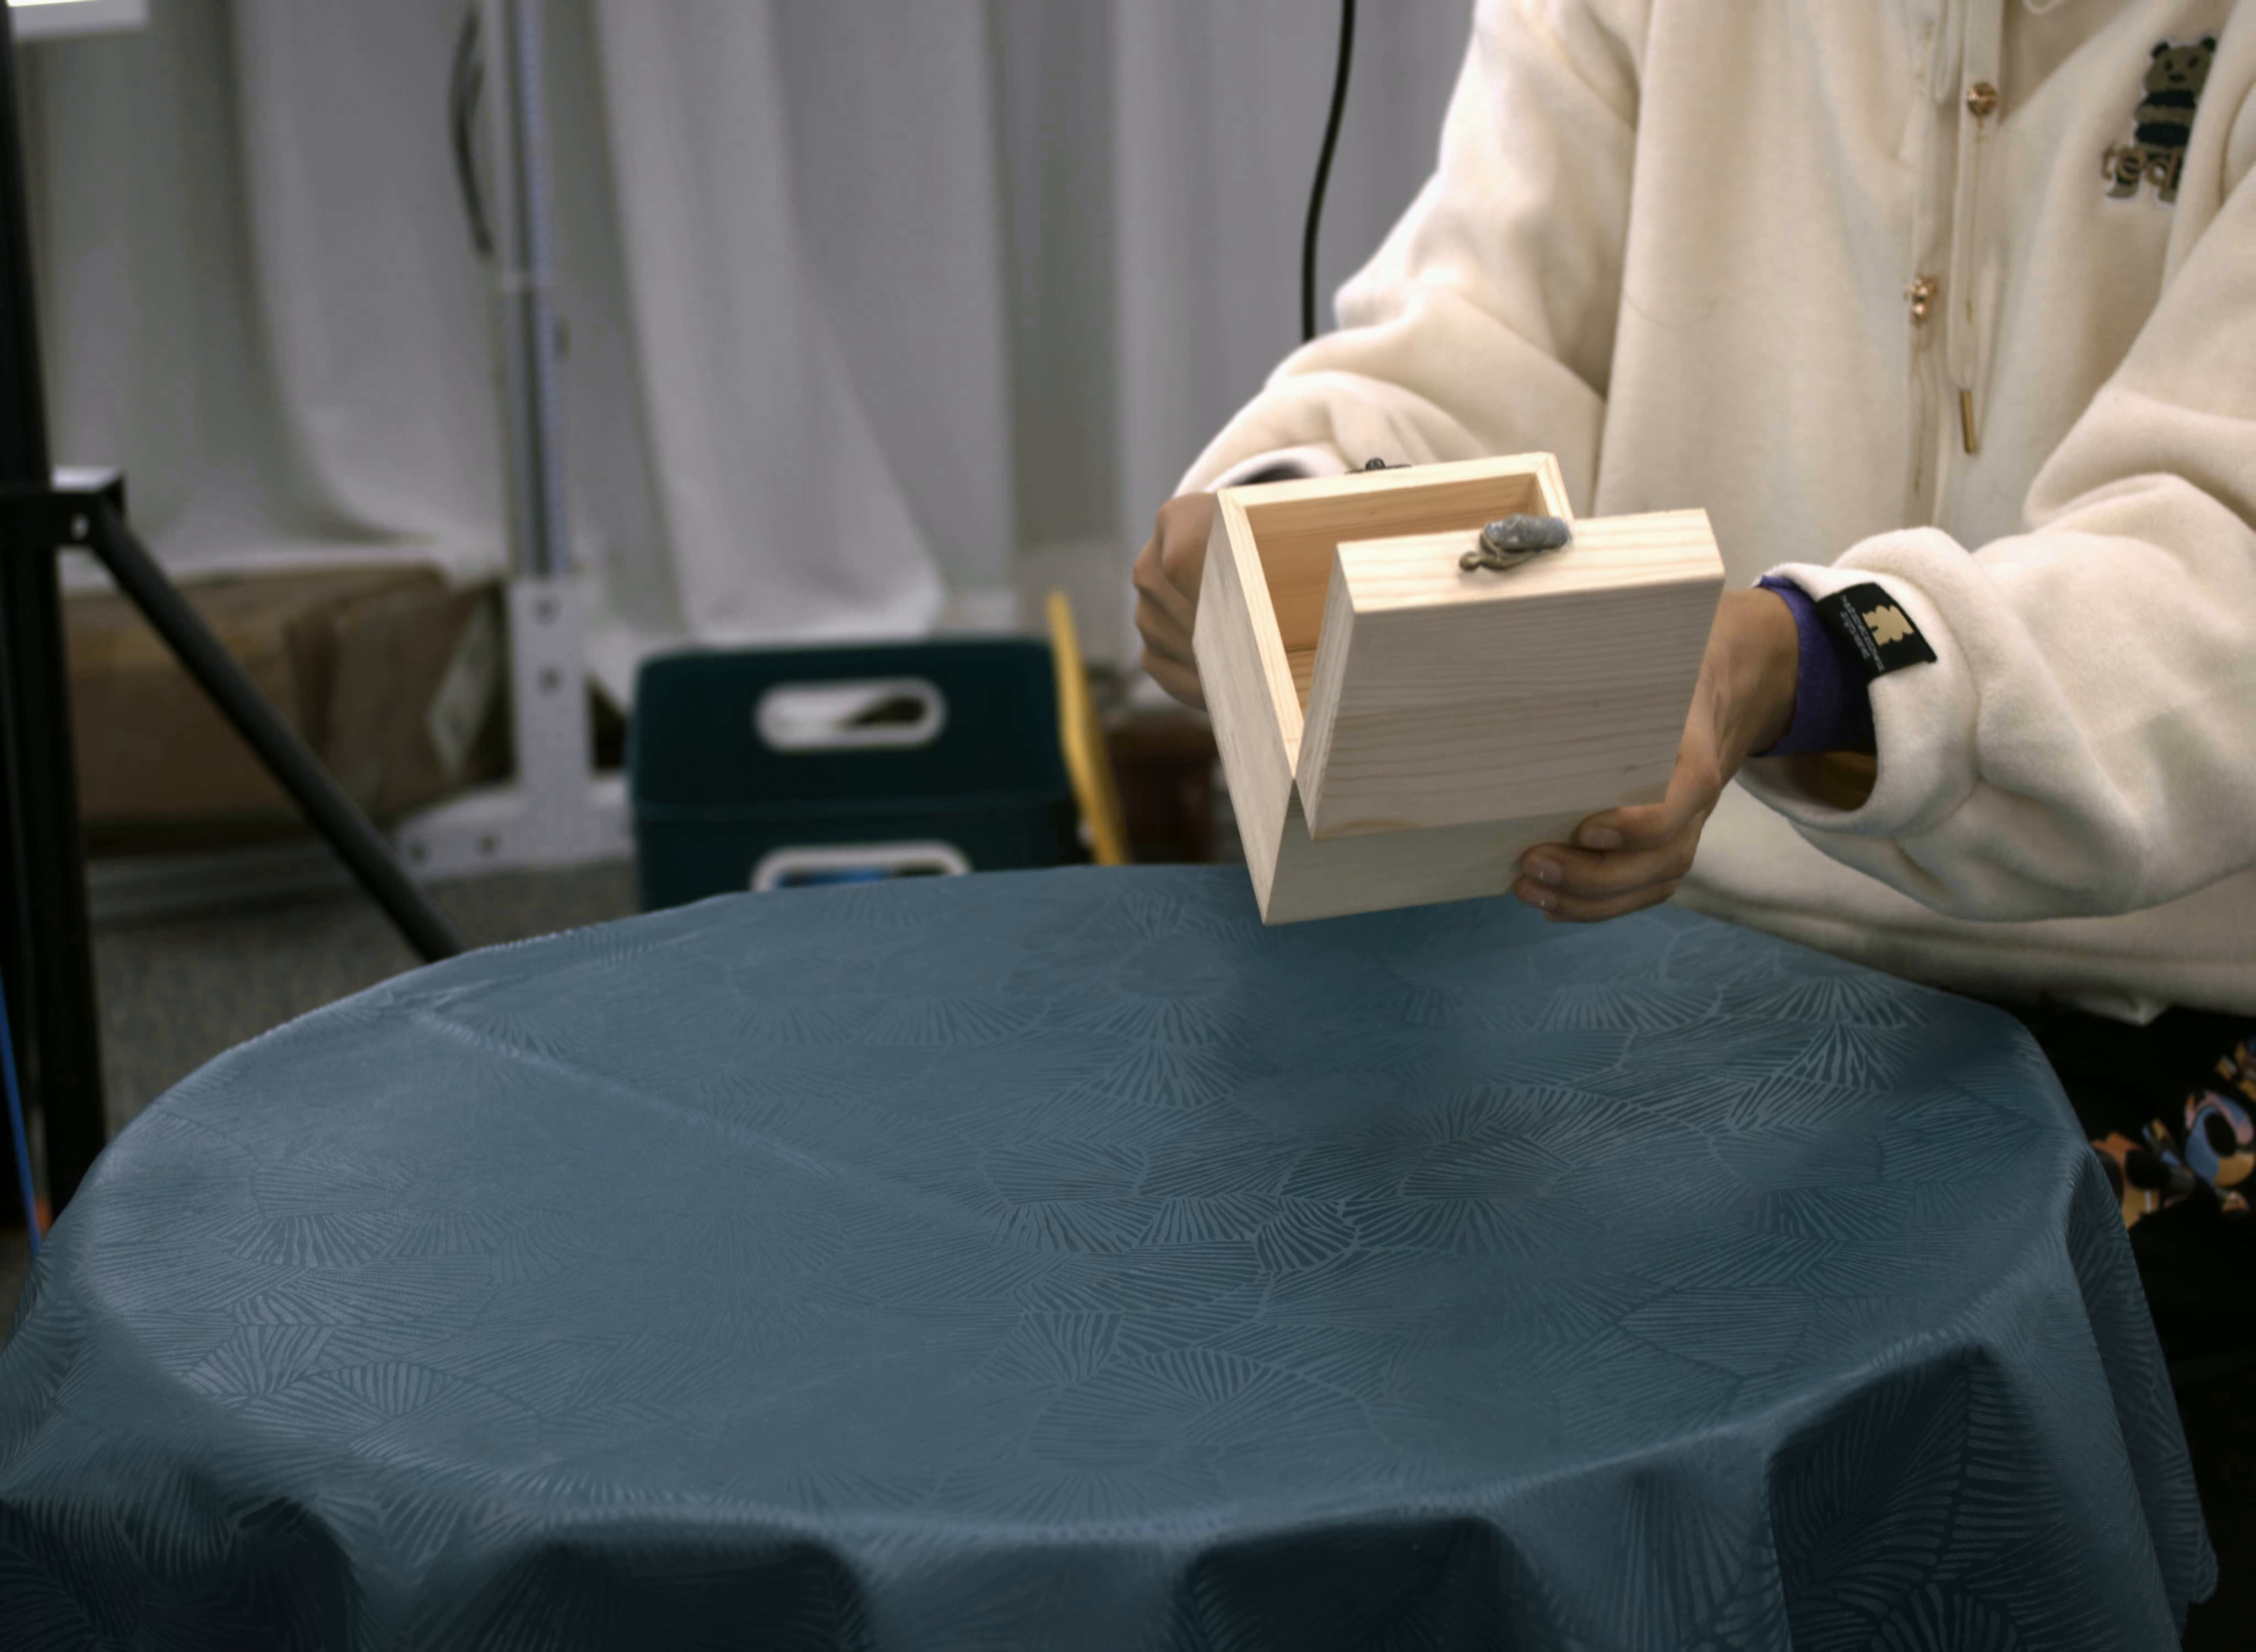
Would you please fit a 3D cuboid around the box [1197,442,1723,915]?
[{"bbox_3d":[0.087,-0.062,1.473,0.101,0.184,0.136,-6,58,-9],"label":"box"}]

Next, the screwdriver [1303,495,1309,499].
[{"bbox_3d":[0.045,-0.082,1.627,0.031,0.031,0.198,-2,-3,-2],"label":"screwdriver"}]
